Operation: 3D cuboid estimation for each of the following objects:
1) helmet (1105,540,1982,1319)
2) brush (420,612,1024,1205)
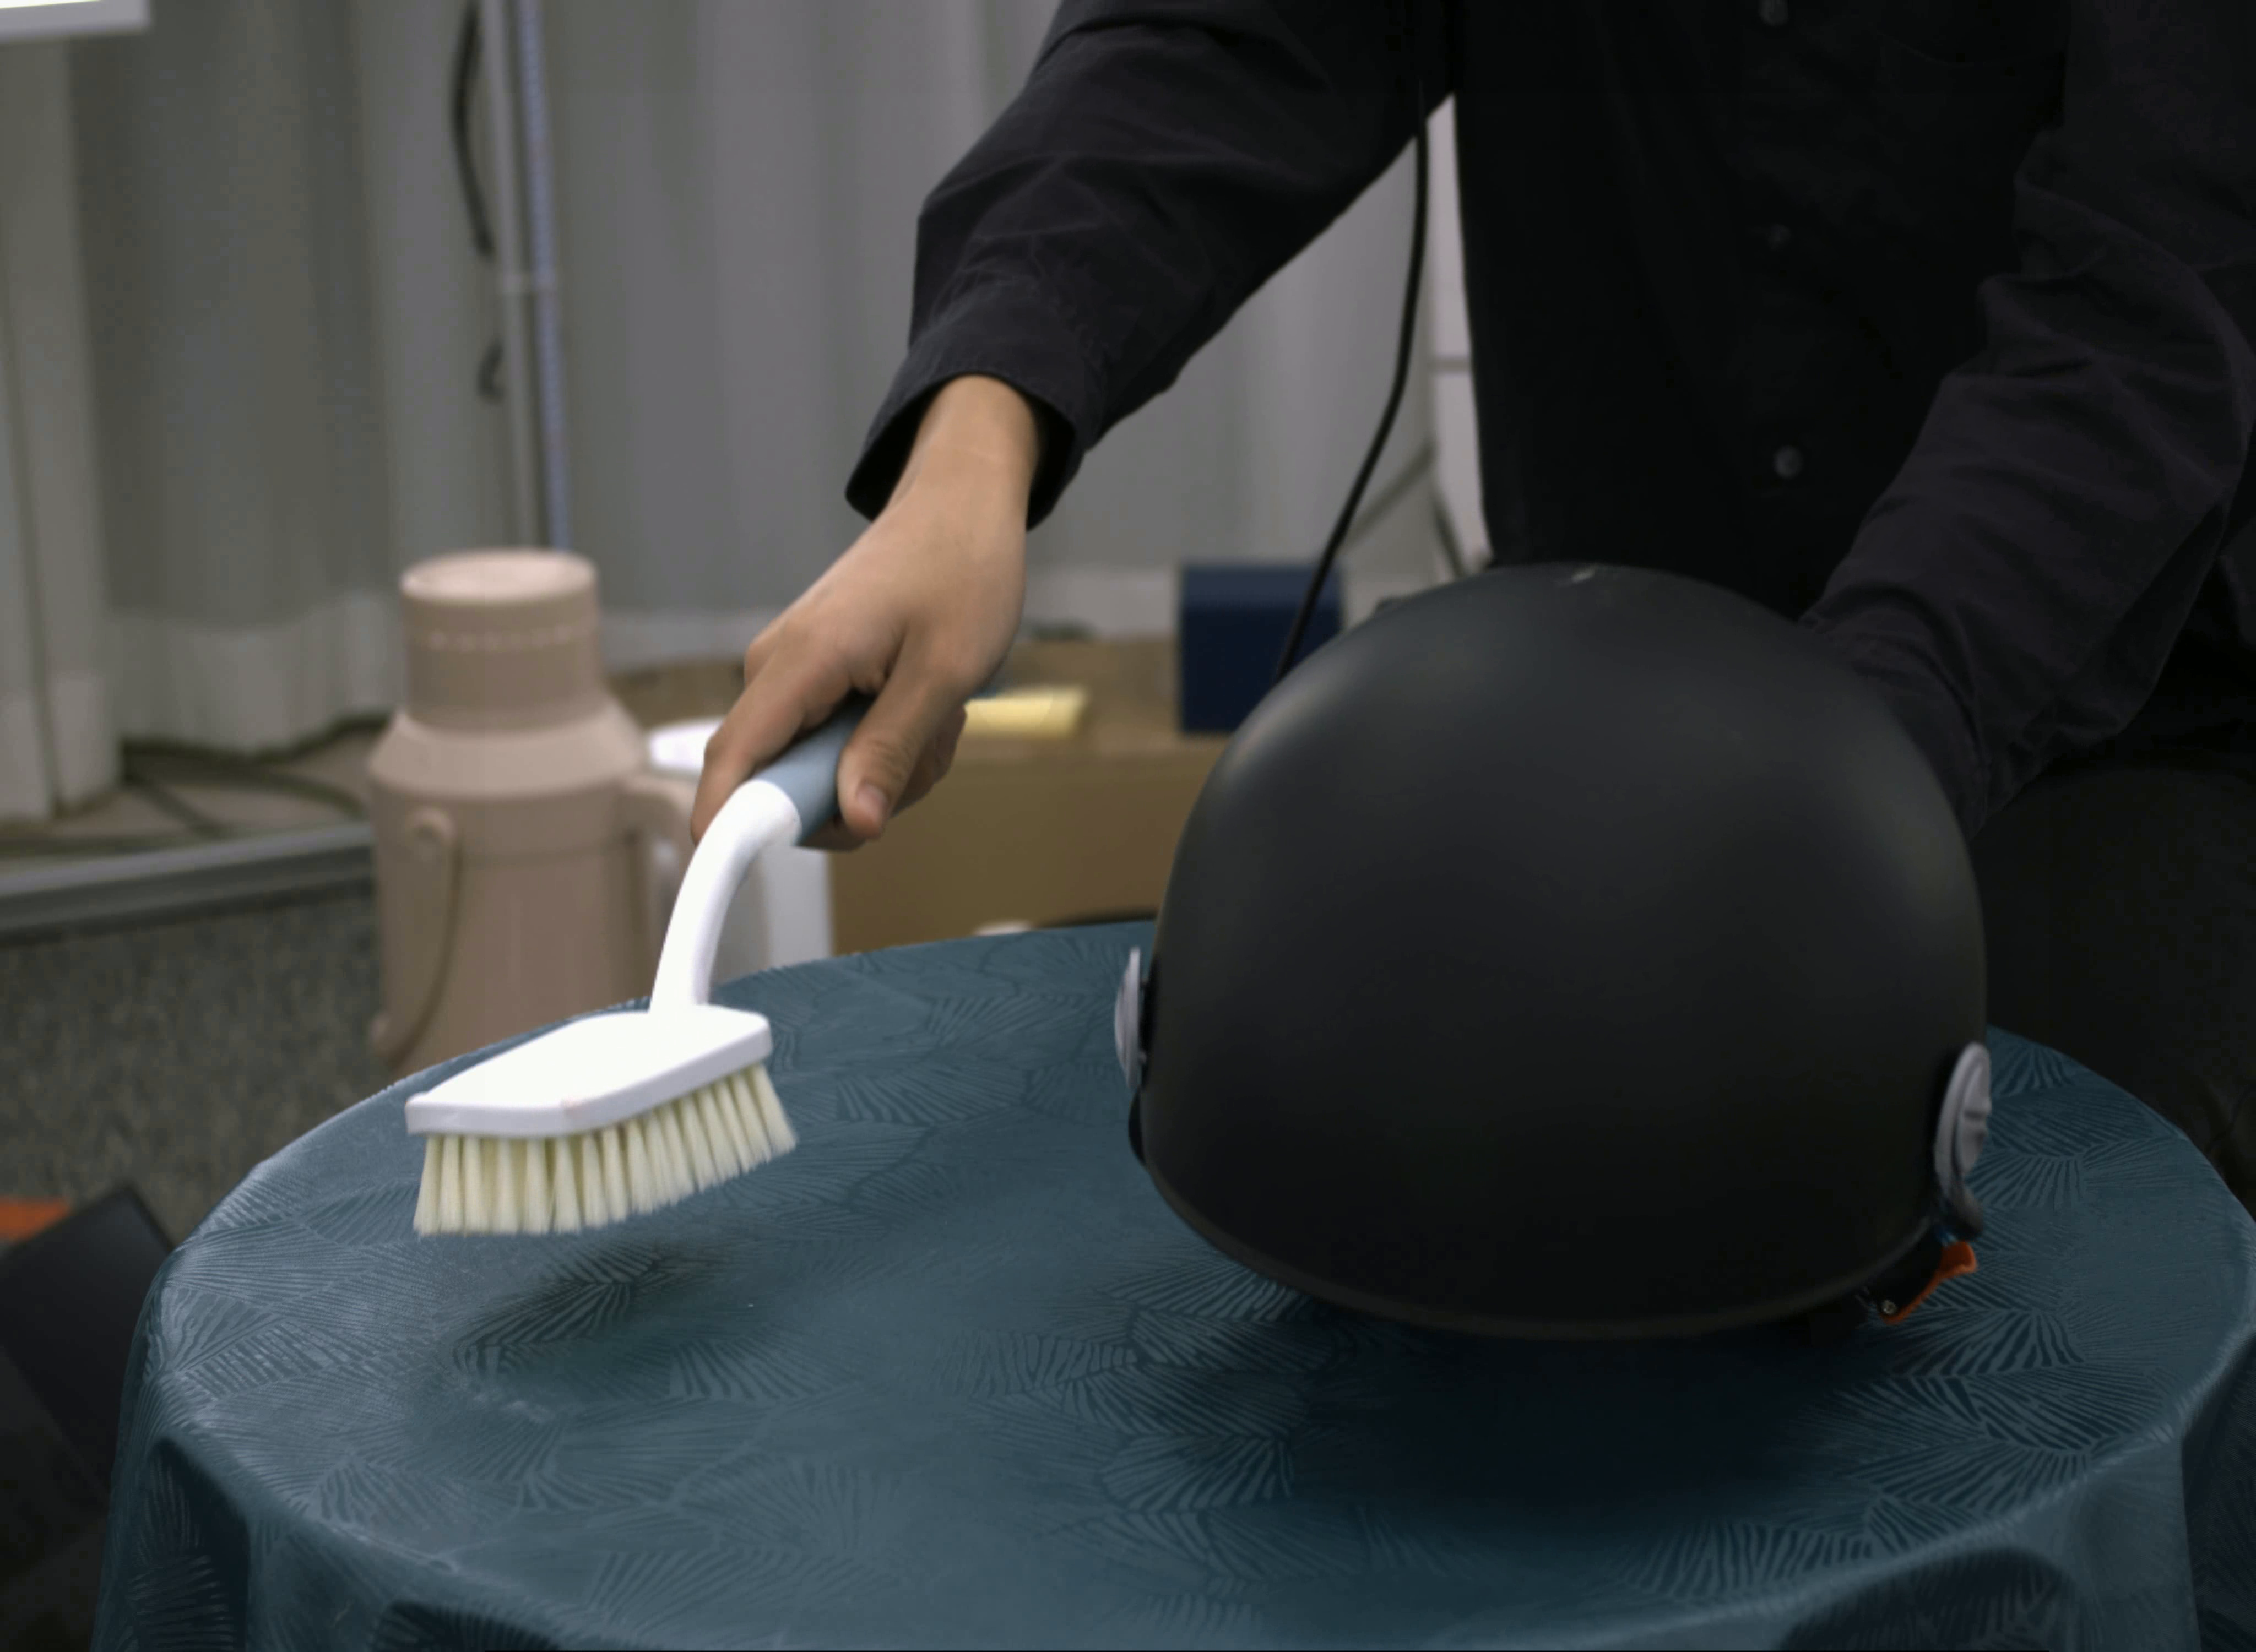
[{"bbox_3d":[0.115,0.015,1.398,0.232,0.167,0.271,6,17,15],"label":"helmet"},{"bbox_3d":[-0.102,0.039,1.573,0.084,0.085,0.321,32,37,12],"label":"brush"}]
